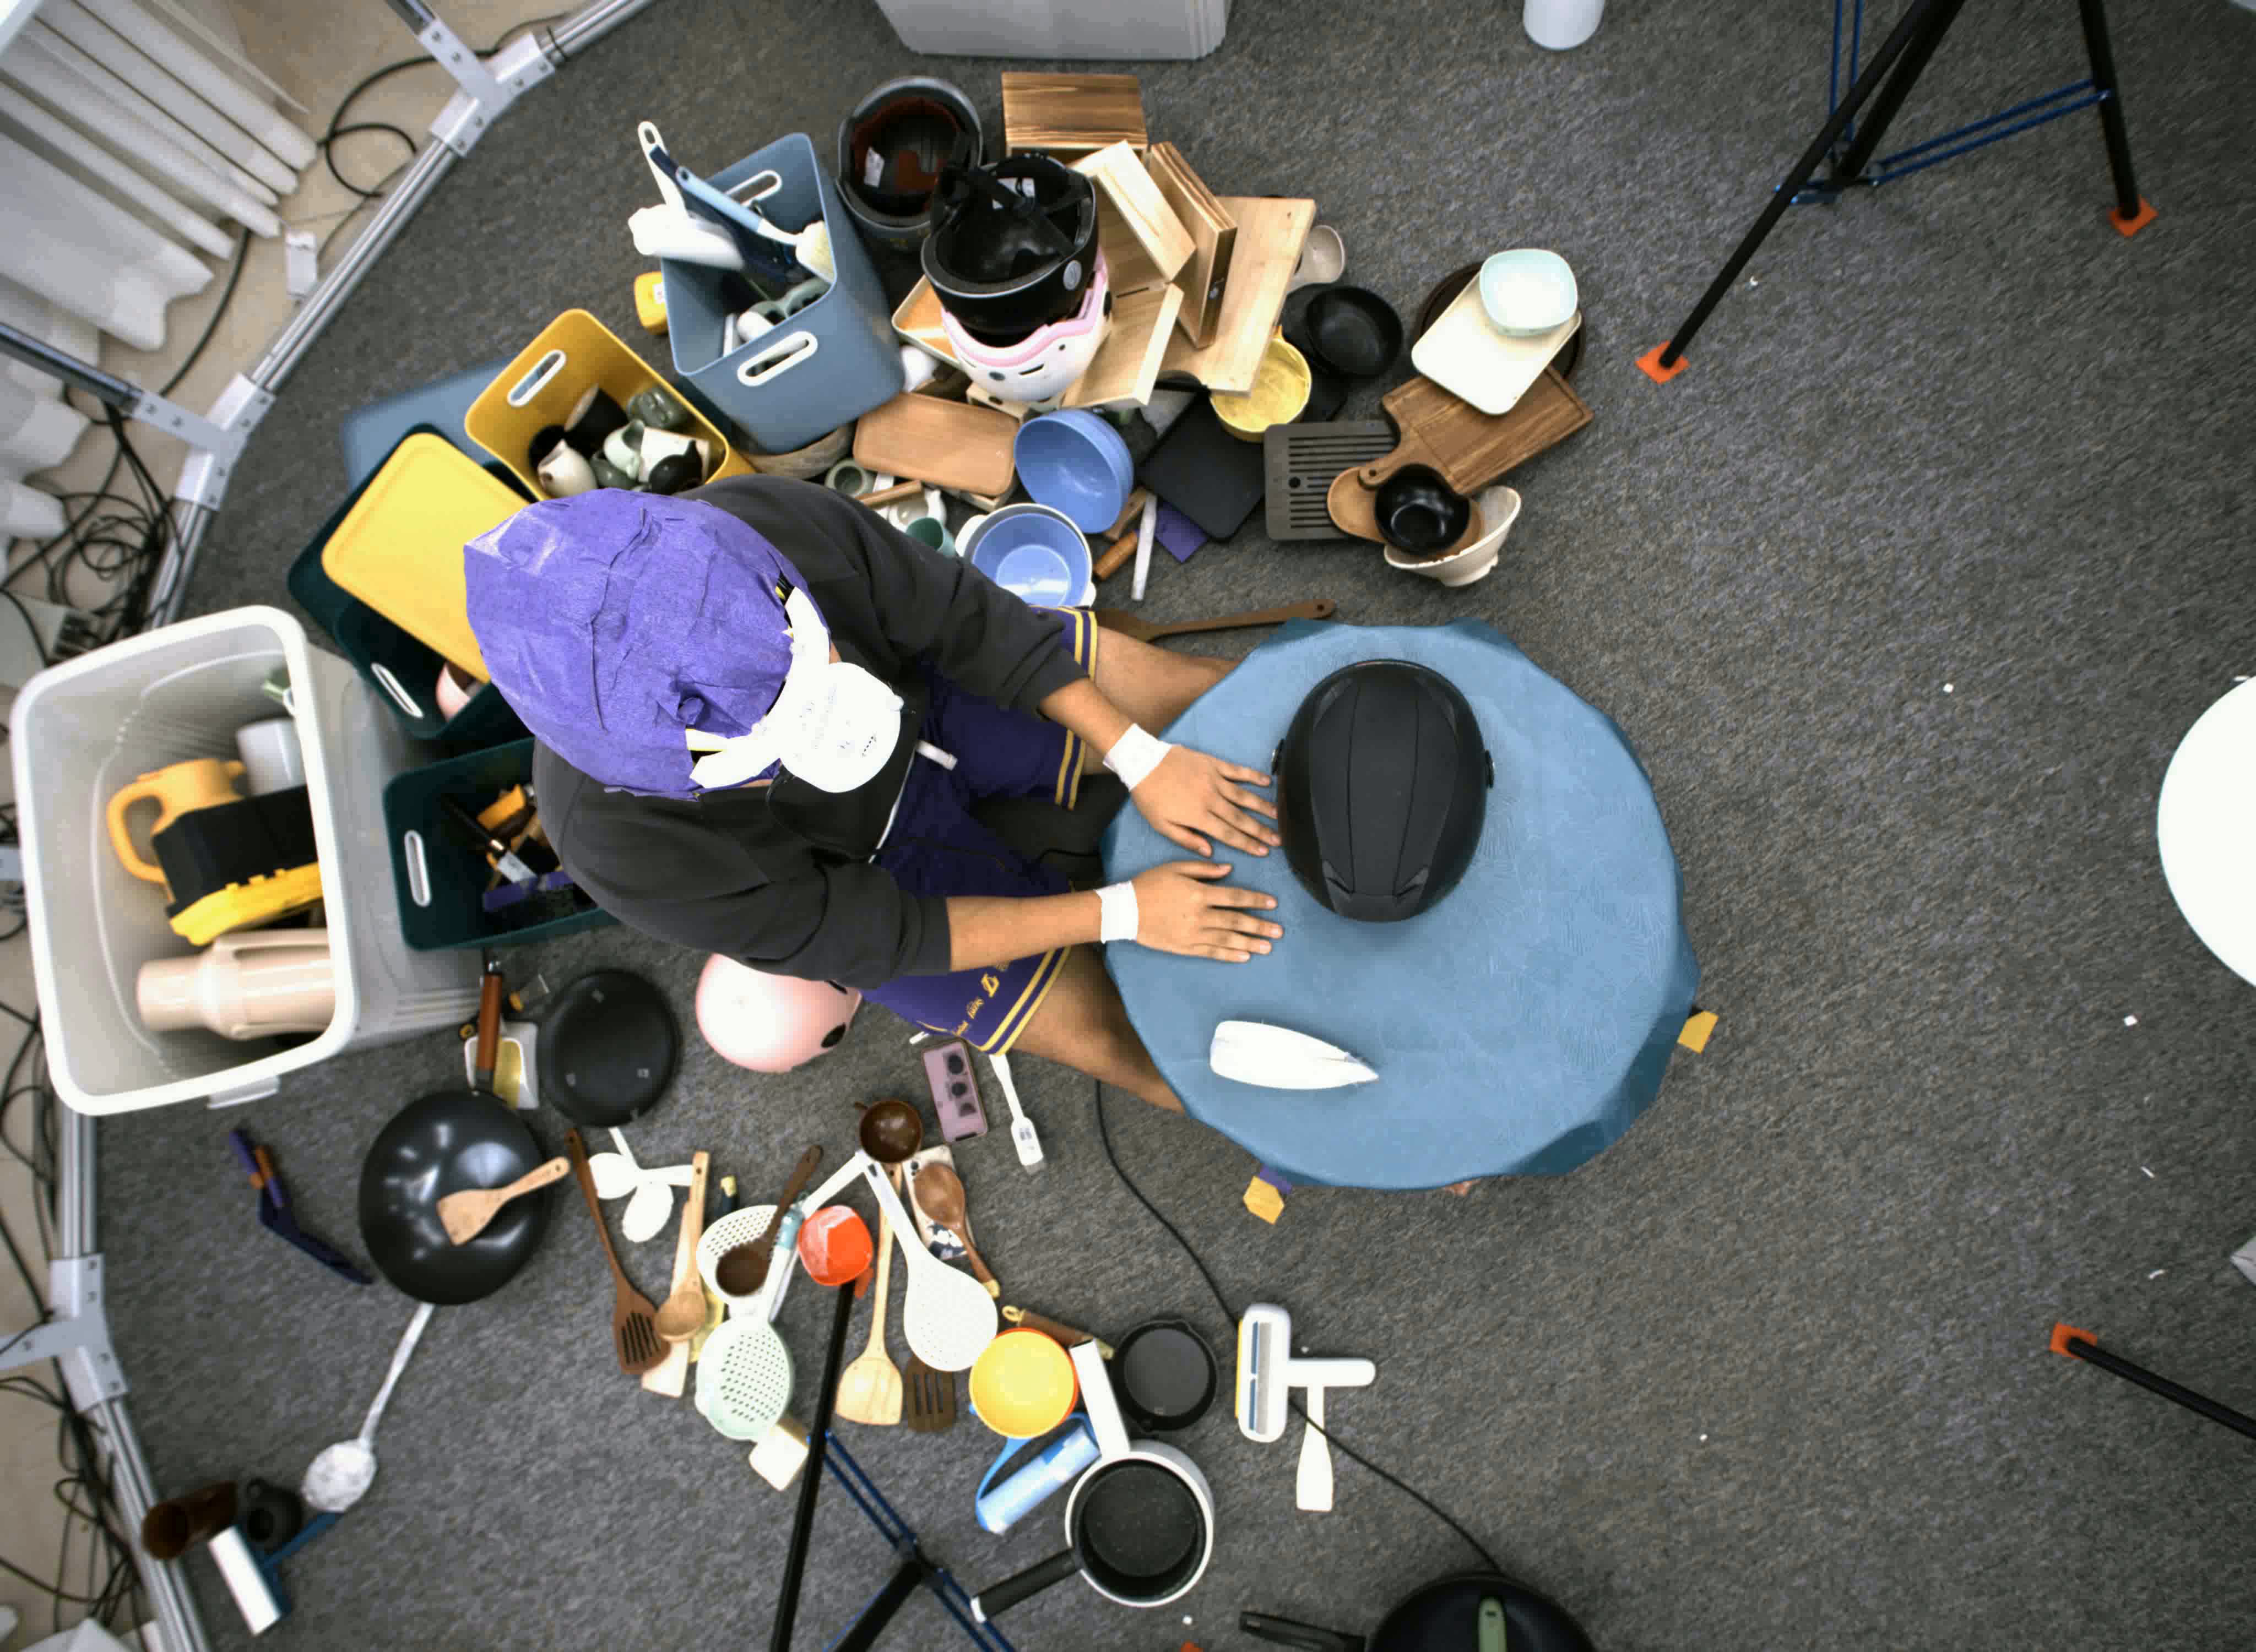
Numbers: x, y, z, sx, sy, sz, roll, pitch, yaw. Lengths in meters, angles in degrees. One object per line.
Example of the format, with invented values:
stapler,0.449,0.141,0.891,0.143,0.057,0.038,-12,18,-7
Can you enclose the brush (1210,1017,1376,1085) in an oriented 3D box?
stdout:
brush,0.168,0.237,1.423,0.176,0.094,0.061,10,88,9

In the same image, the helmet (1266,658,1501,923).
helmet,0.257,-0.041,1.388,0.247,0.172,0.277,6,91,10
